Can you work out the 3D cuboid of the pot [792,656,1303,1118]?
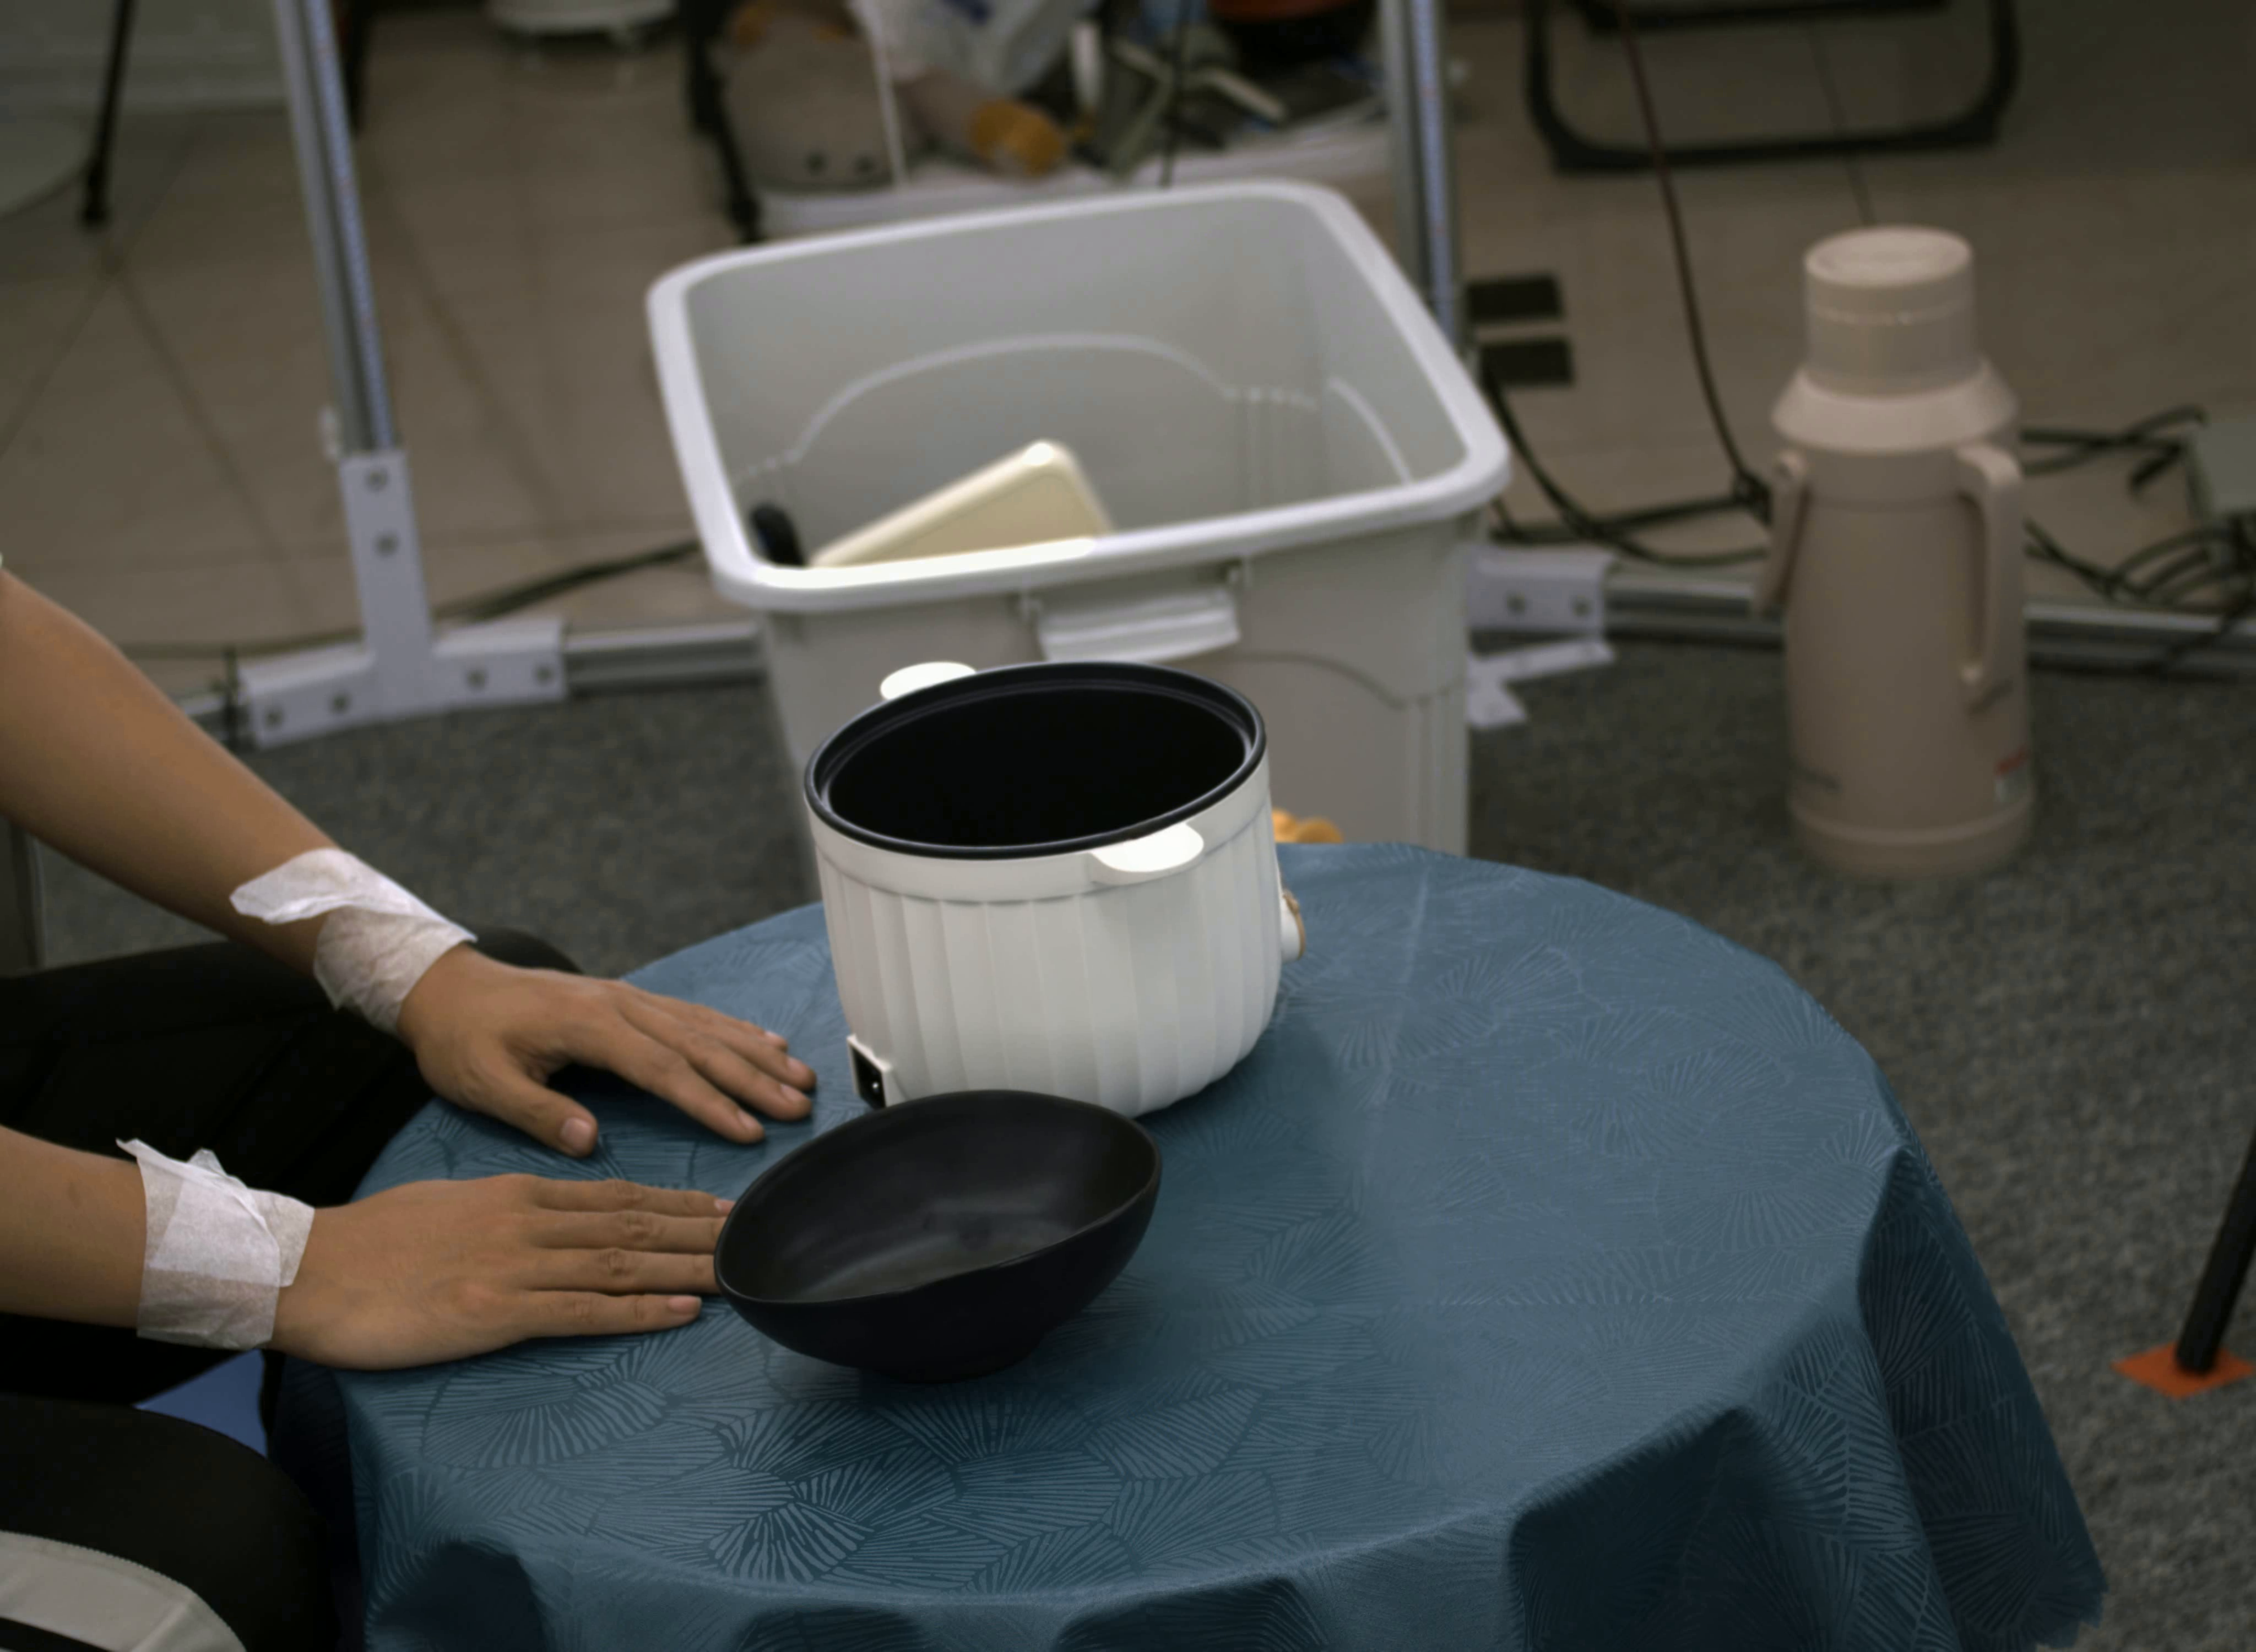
[{"bbox_3d":[-0.026,0.029,2.227,0.189,0.145,0.237,-21,29,-20],"label":"pot"}]

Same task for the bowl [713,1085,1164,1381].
[{"bbox_3d":[-0.064,0.157,2.051,0.169,0.068,0.136,-18,27,-22],"label":"bowl"}]
